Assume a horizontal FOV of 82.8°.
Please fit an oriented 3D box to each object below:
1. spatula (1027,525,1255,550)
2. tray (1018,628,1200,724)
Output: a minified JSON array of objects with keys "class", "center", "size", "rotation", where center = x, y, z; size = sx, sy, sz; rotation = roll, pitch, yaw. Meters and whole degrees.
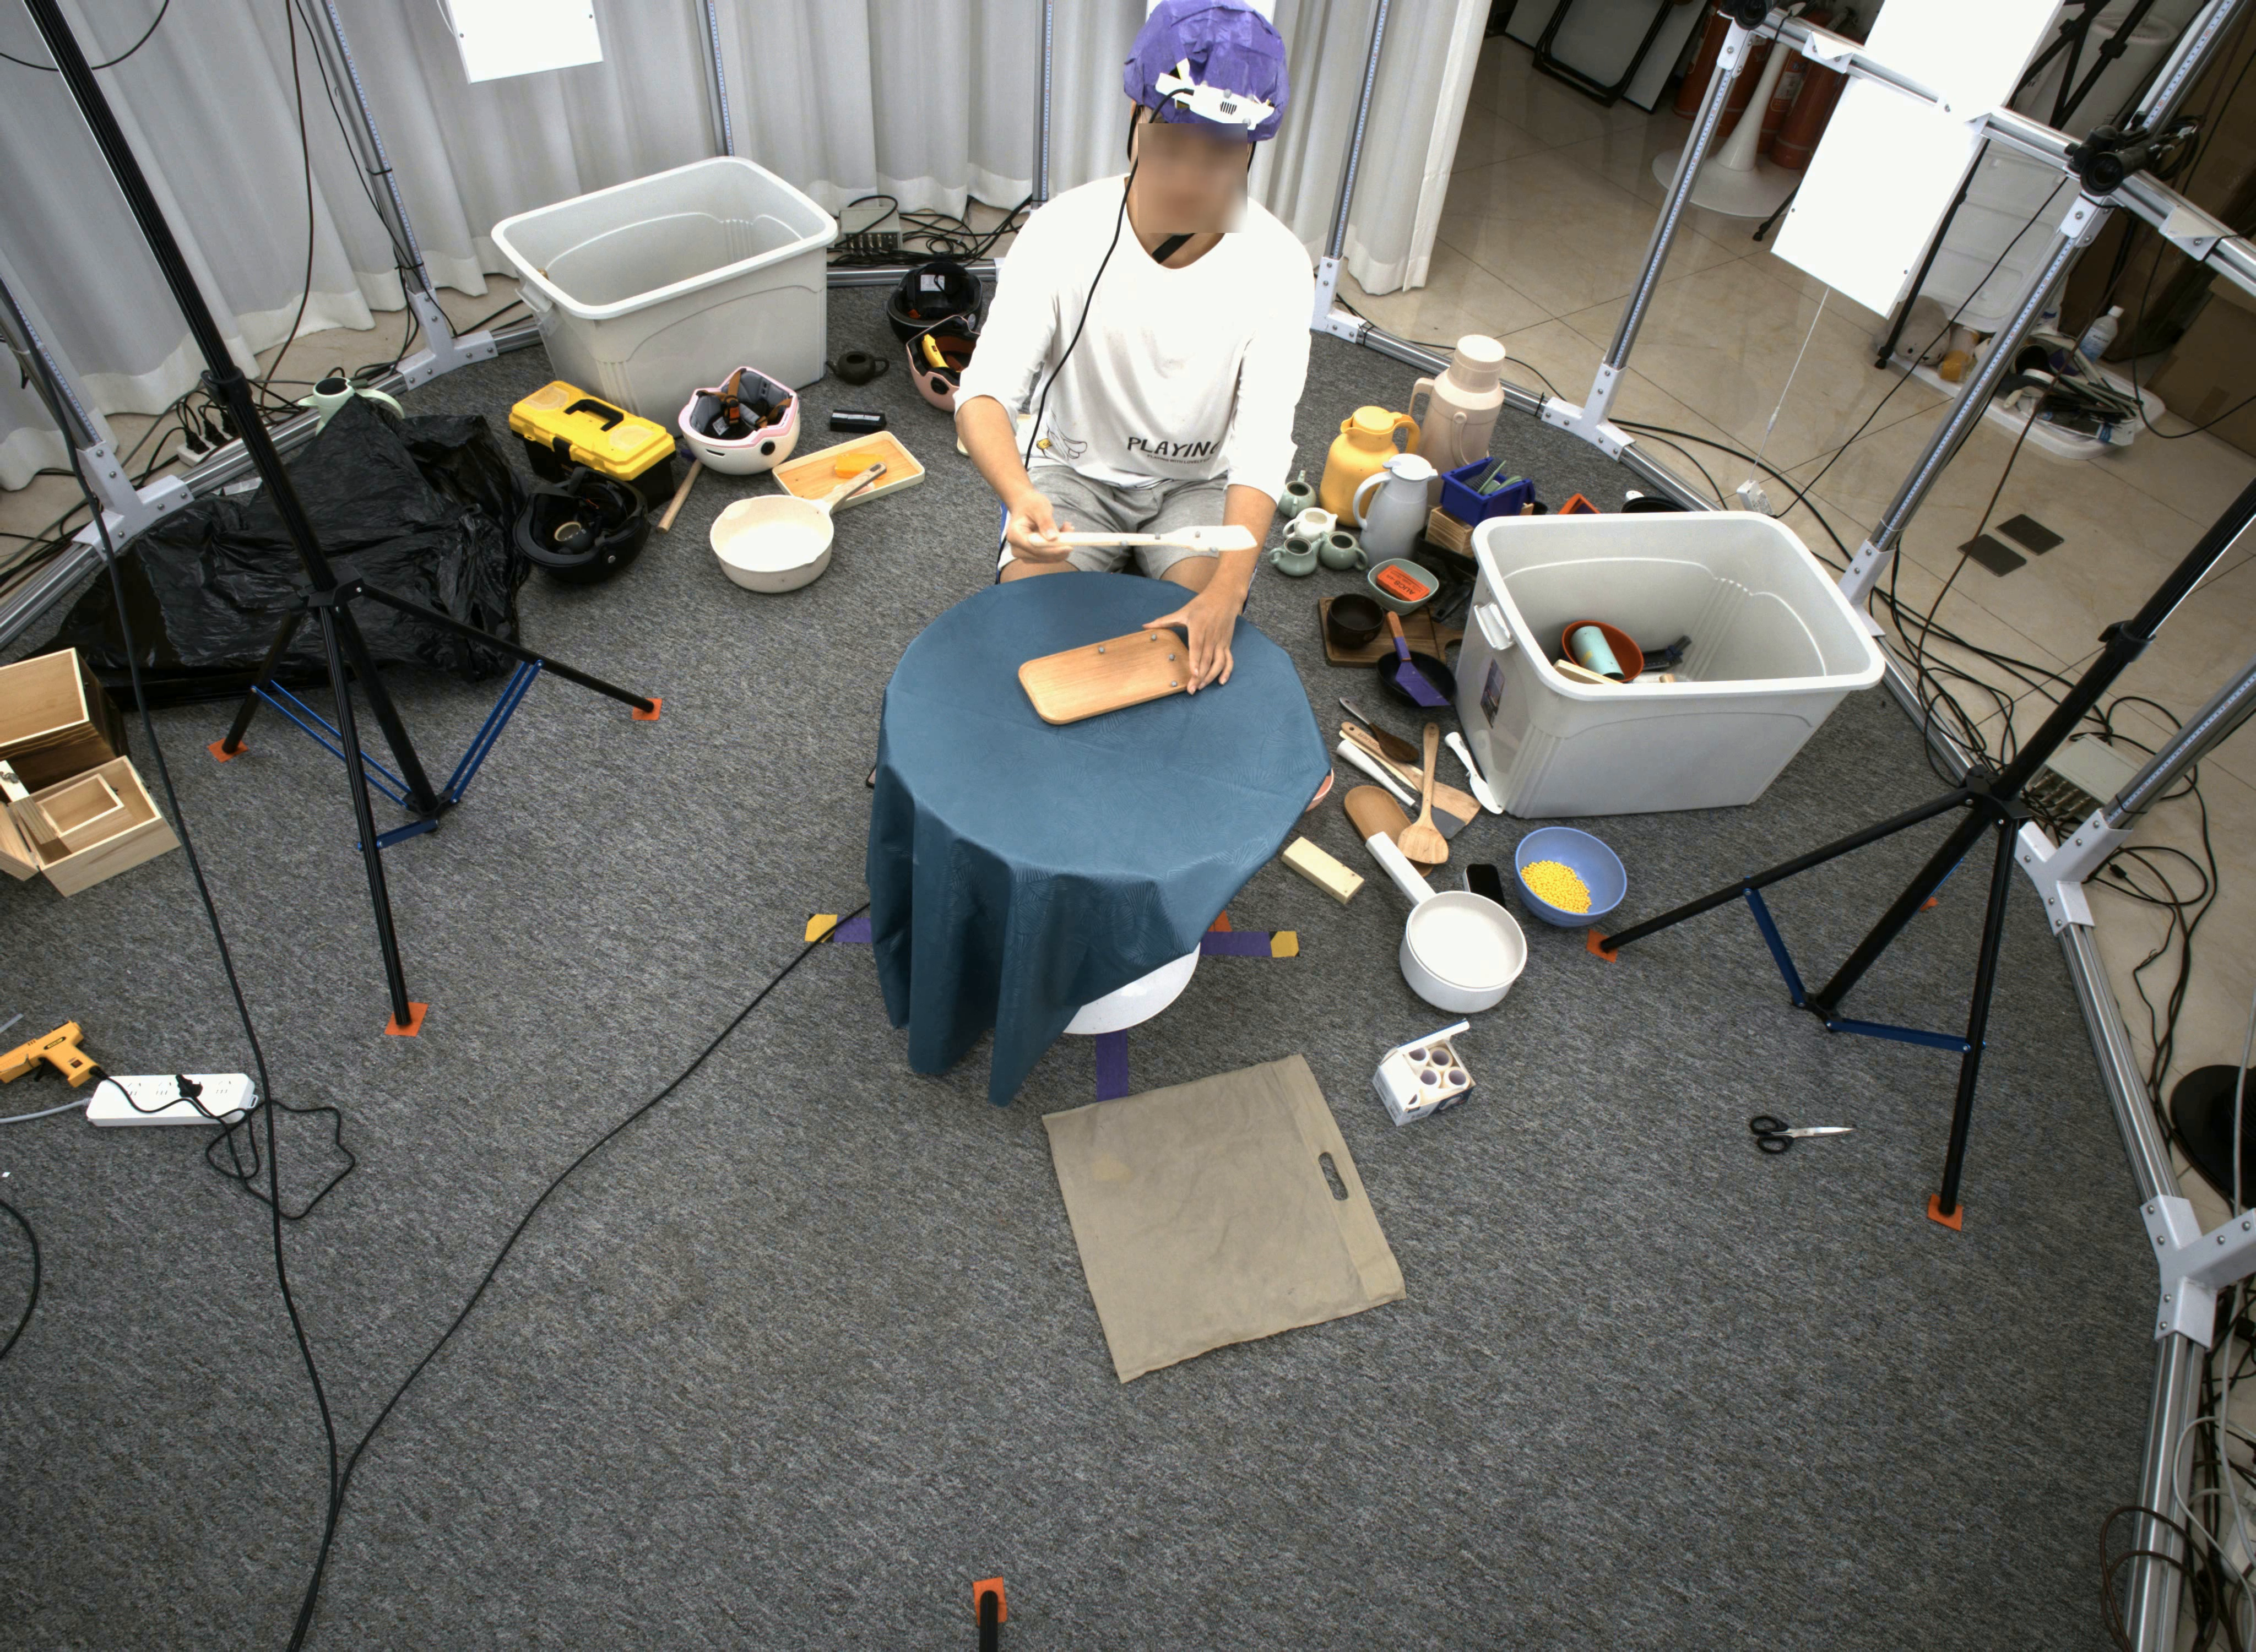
[{"class":"spatula","center":[0.016,-0.368,1.649],"size":[0.292,0.010,0.074],"rotation":[-4,34,-13]},{"class":"tray","center":[-0.026,-0.217,1.841],"size":[0.251,0.022,0.133],"rotation":[-16,50,-17]}]
